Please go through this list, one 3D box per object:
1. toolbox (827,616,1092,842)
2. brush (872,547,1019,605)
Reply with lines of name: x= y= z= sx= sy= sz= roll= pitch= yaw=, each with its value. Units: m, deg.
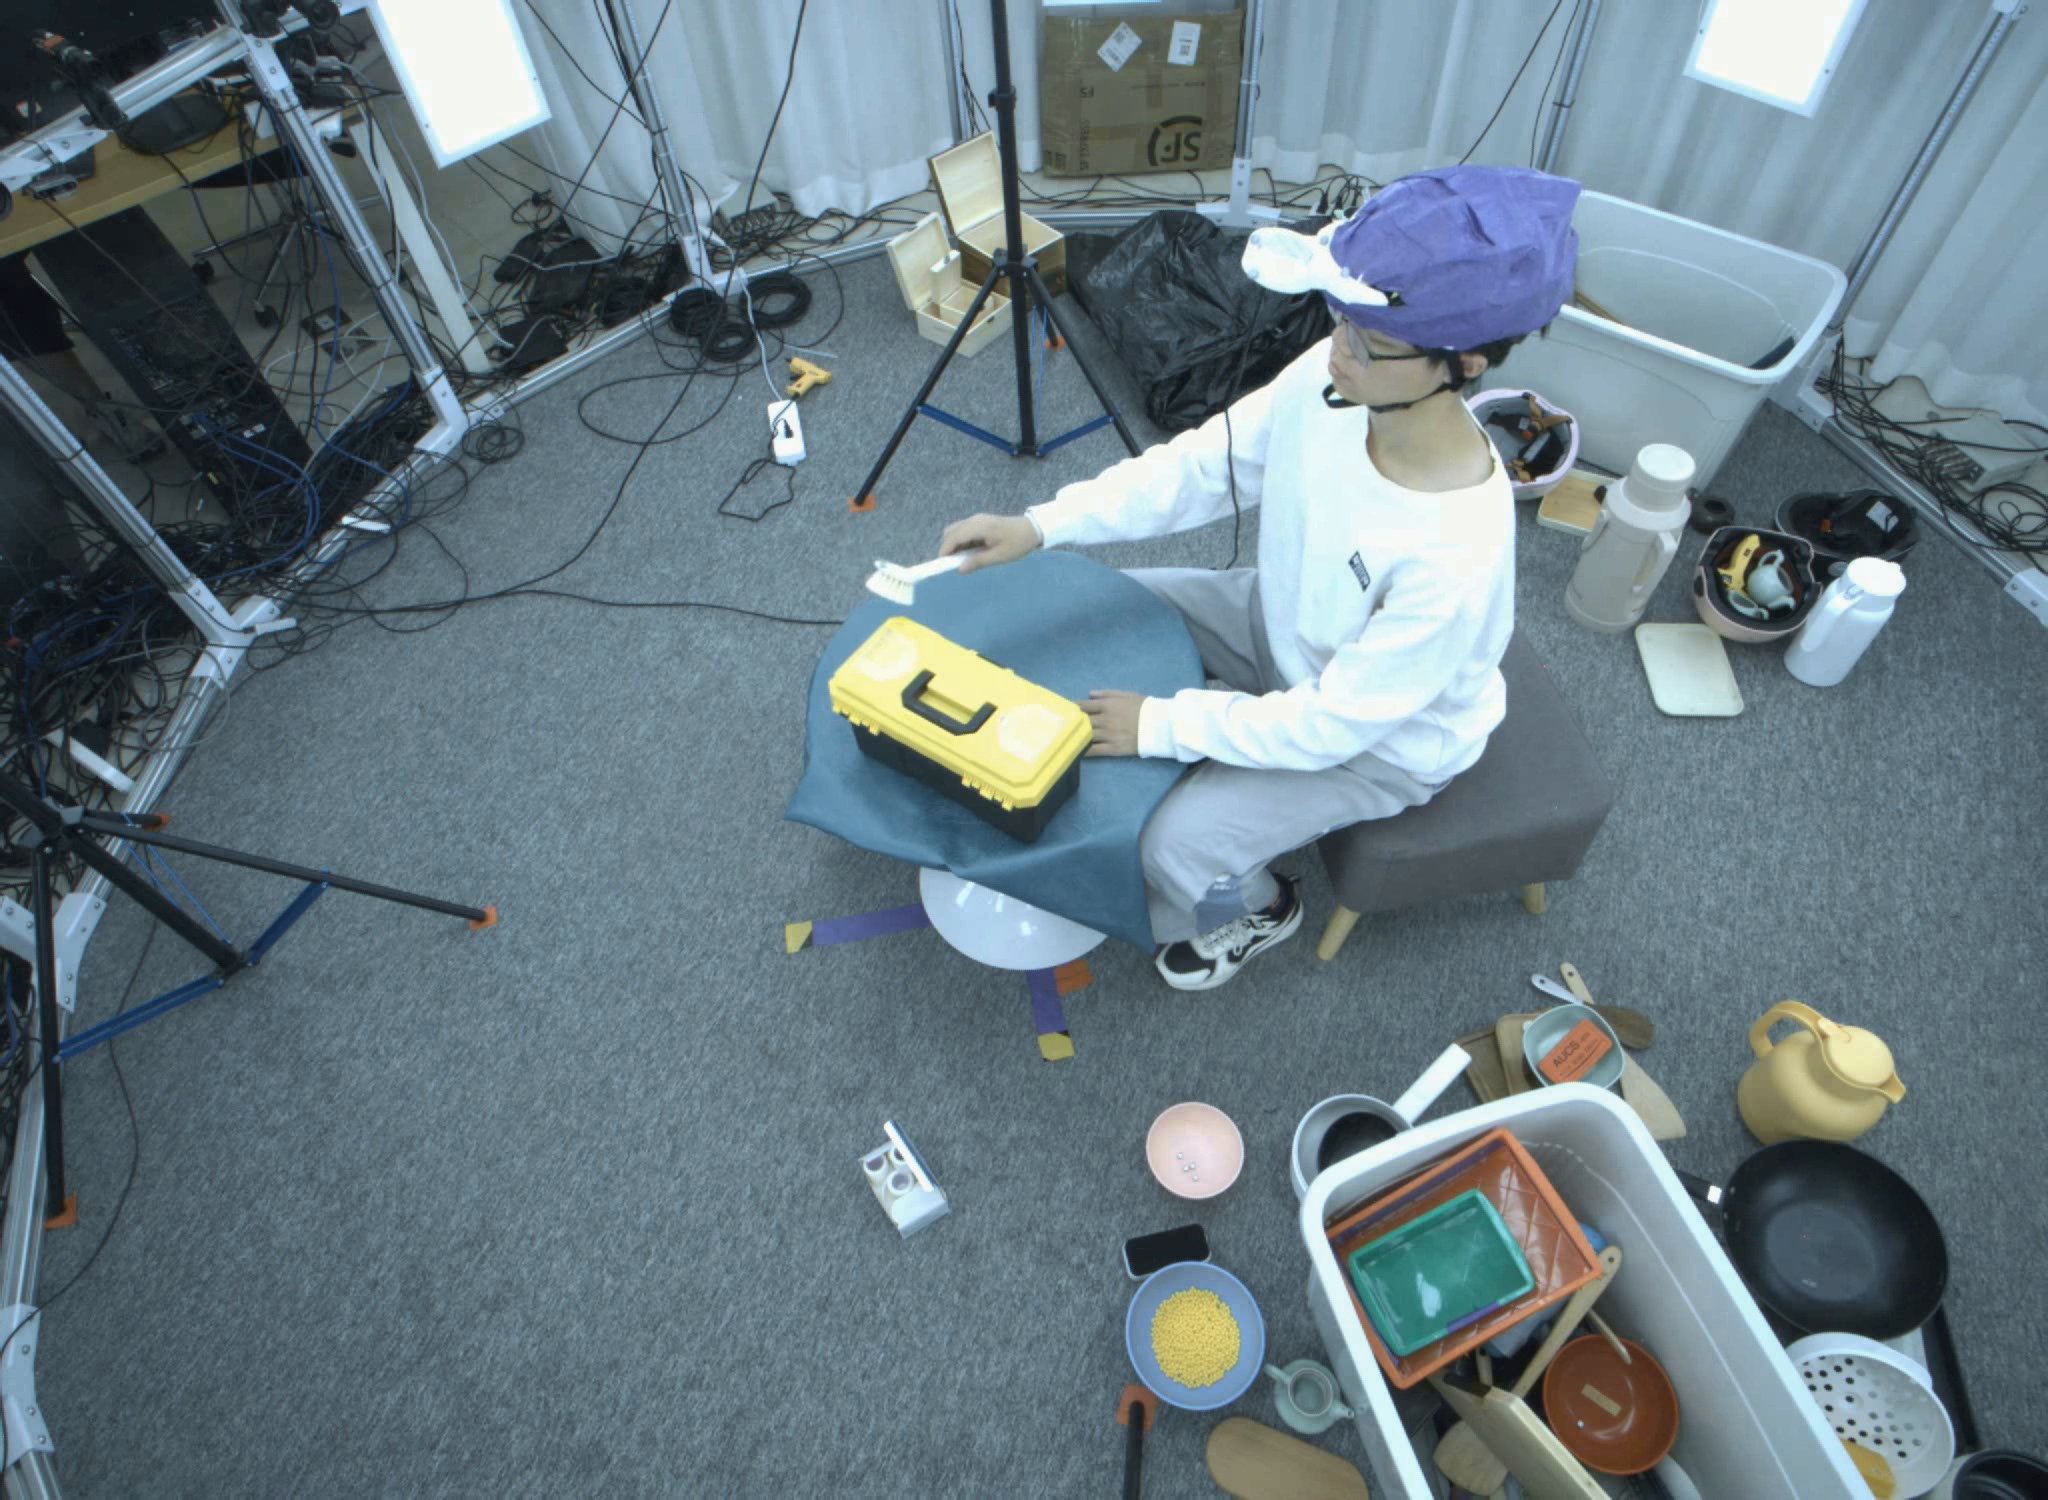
toolbox: x=-0.086 y=-0.030 z=1.701 sx=0.346 sy=0.174 sz=0.182 roll=29 pitch=62 yaw=20
brush: x=-0.110 y=-0.256 z=1.765 sx=0.271 sy=0.056 sz=0.067 roll=-15 pitch=54 yaw=-47
